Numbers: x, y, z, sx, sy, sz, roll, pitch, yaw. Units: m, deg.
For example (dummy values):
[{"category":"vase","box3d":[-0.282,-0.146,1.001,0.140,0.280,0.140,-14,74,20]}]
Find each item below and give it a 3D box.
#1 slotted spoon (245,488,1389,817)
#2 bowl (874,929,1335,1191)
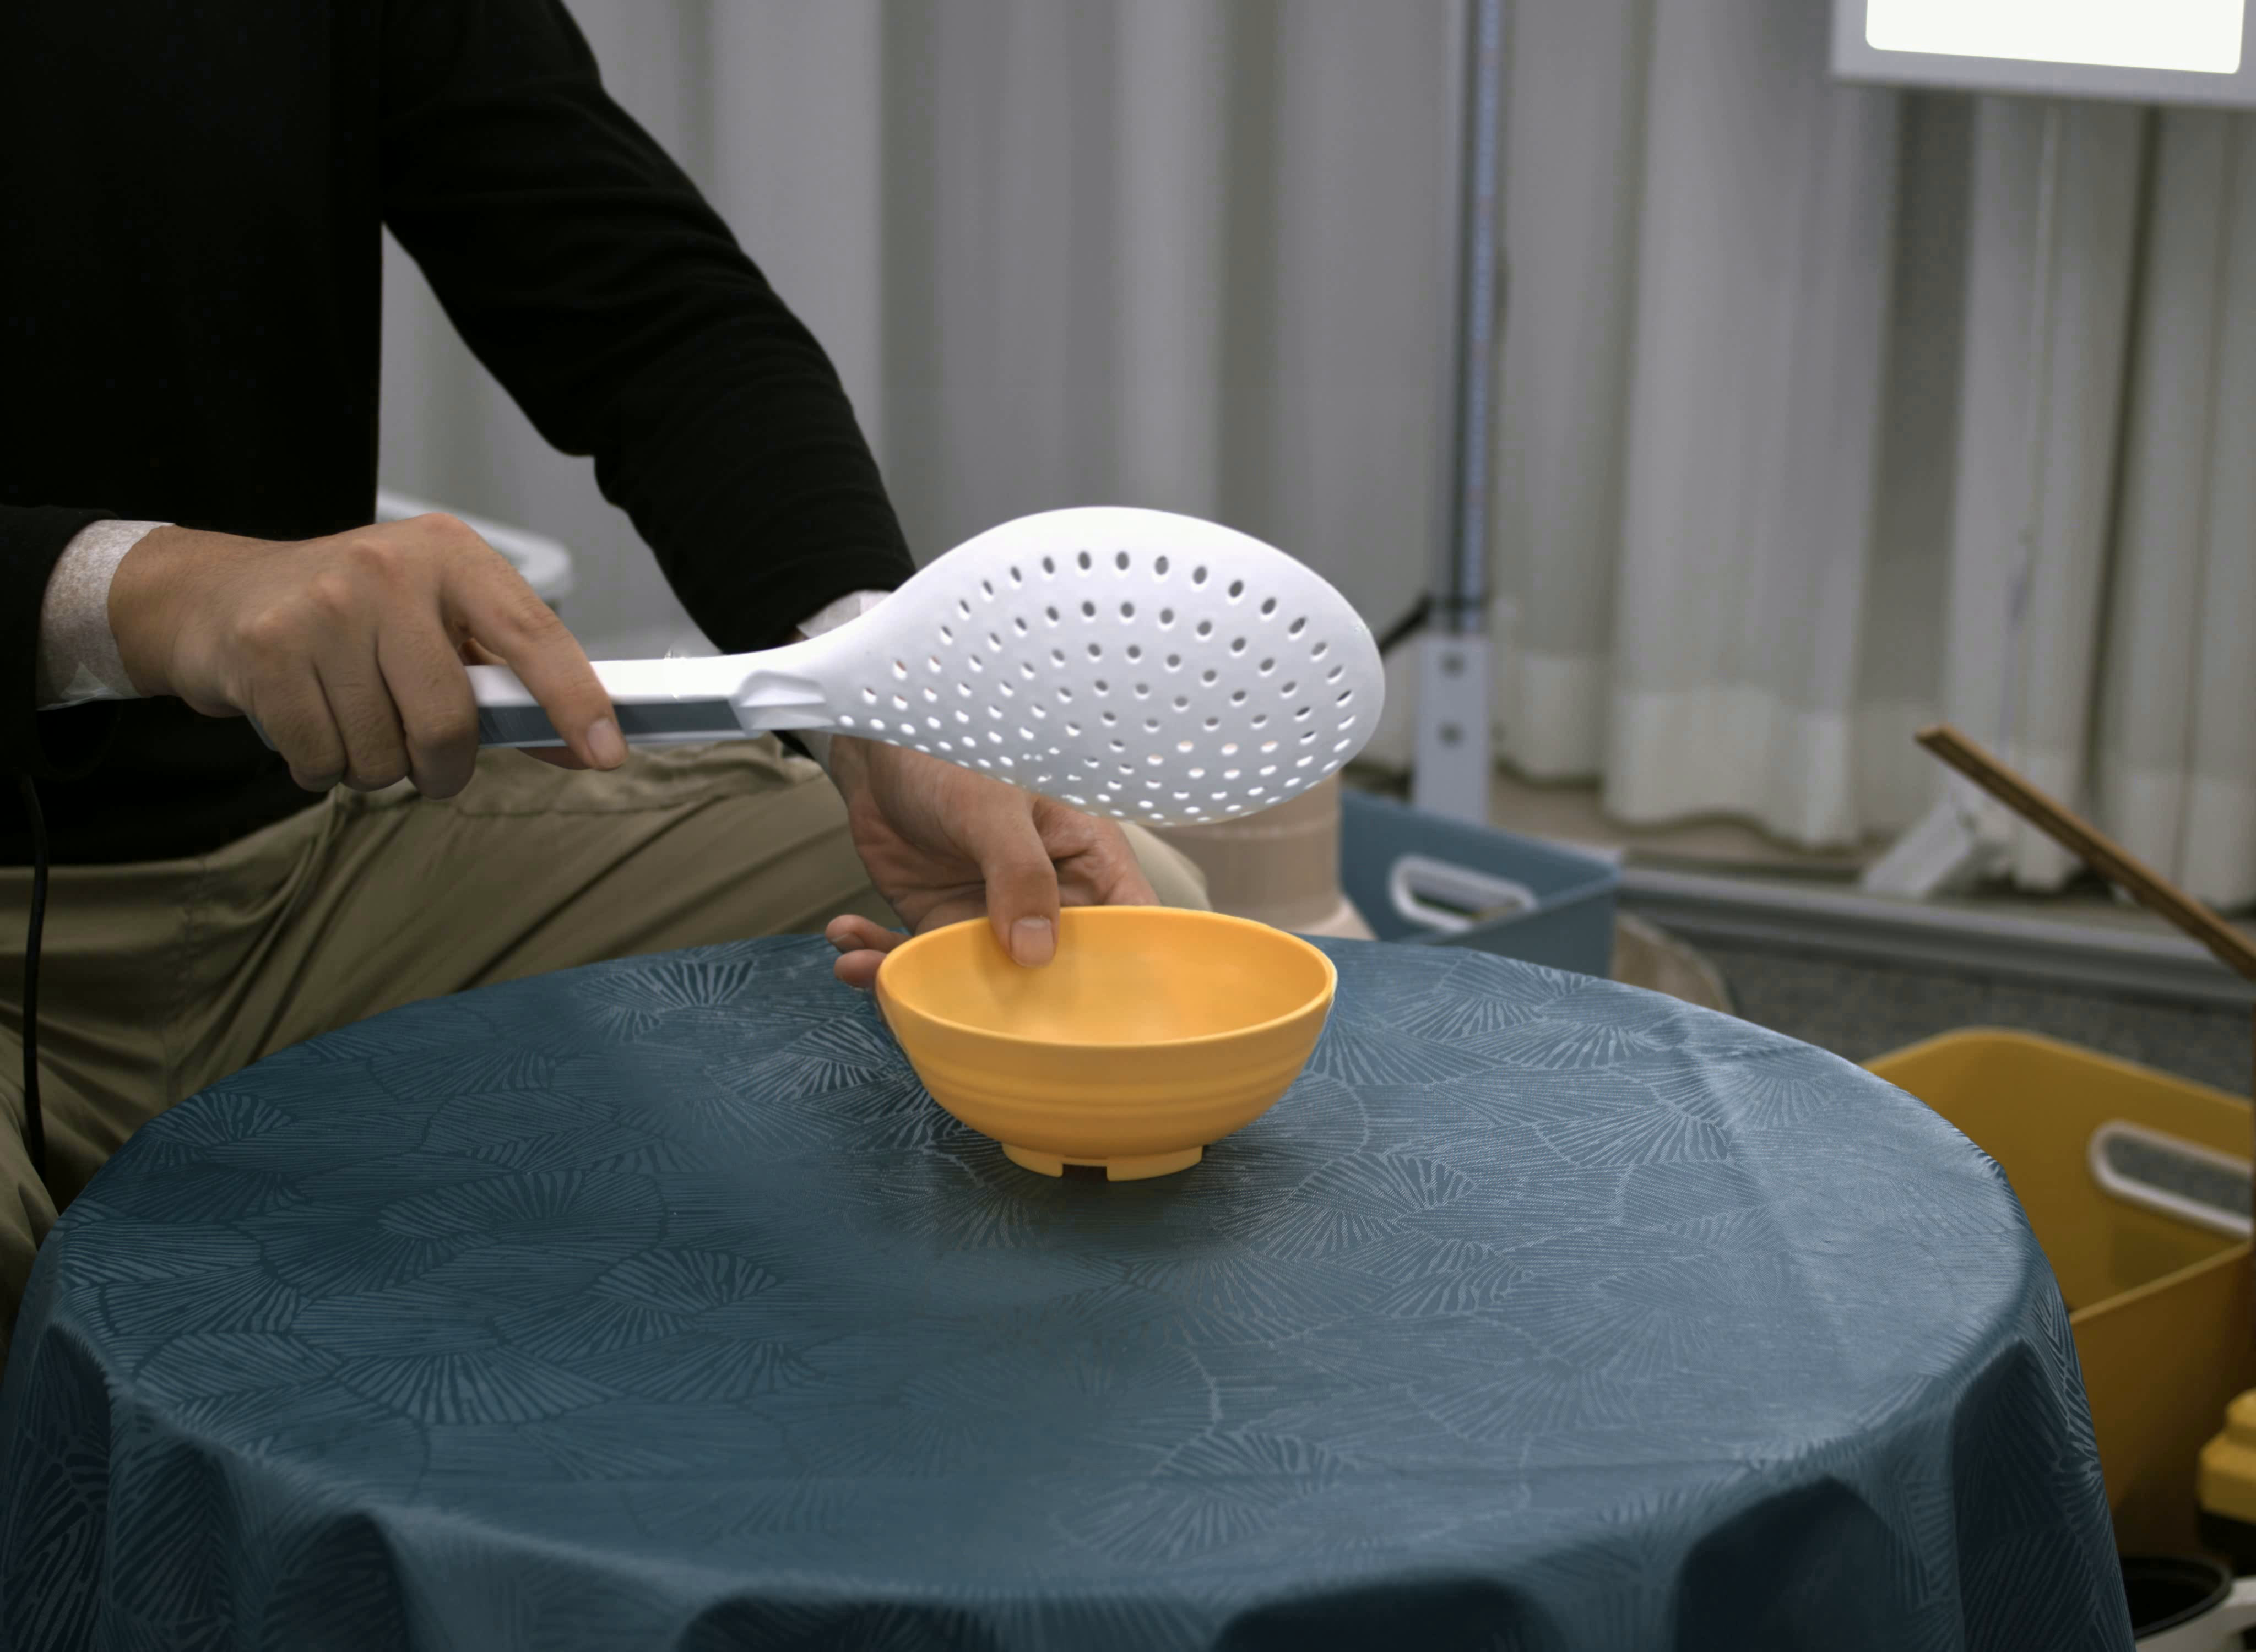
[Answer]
[{"category":"slotted spoon","box3d":[-0.096,-0.041,1.526,0.346,0.138,0.045,2,54,20]},{"category":"bowl","box3d":[-0.008,0.078,1.653,0.145,0.060,0.144,1,12,0]}]
